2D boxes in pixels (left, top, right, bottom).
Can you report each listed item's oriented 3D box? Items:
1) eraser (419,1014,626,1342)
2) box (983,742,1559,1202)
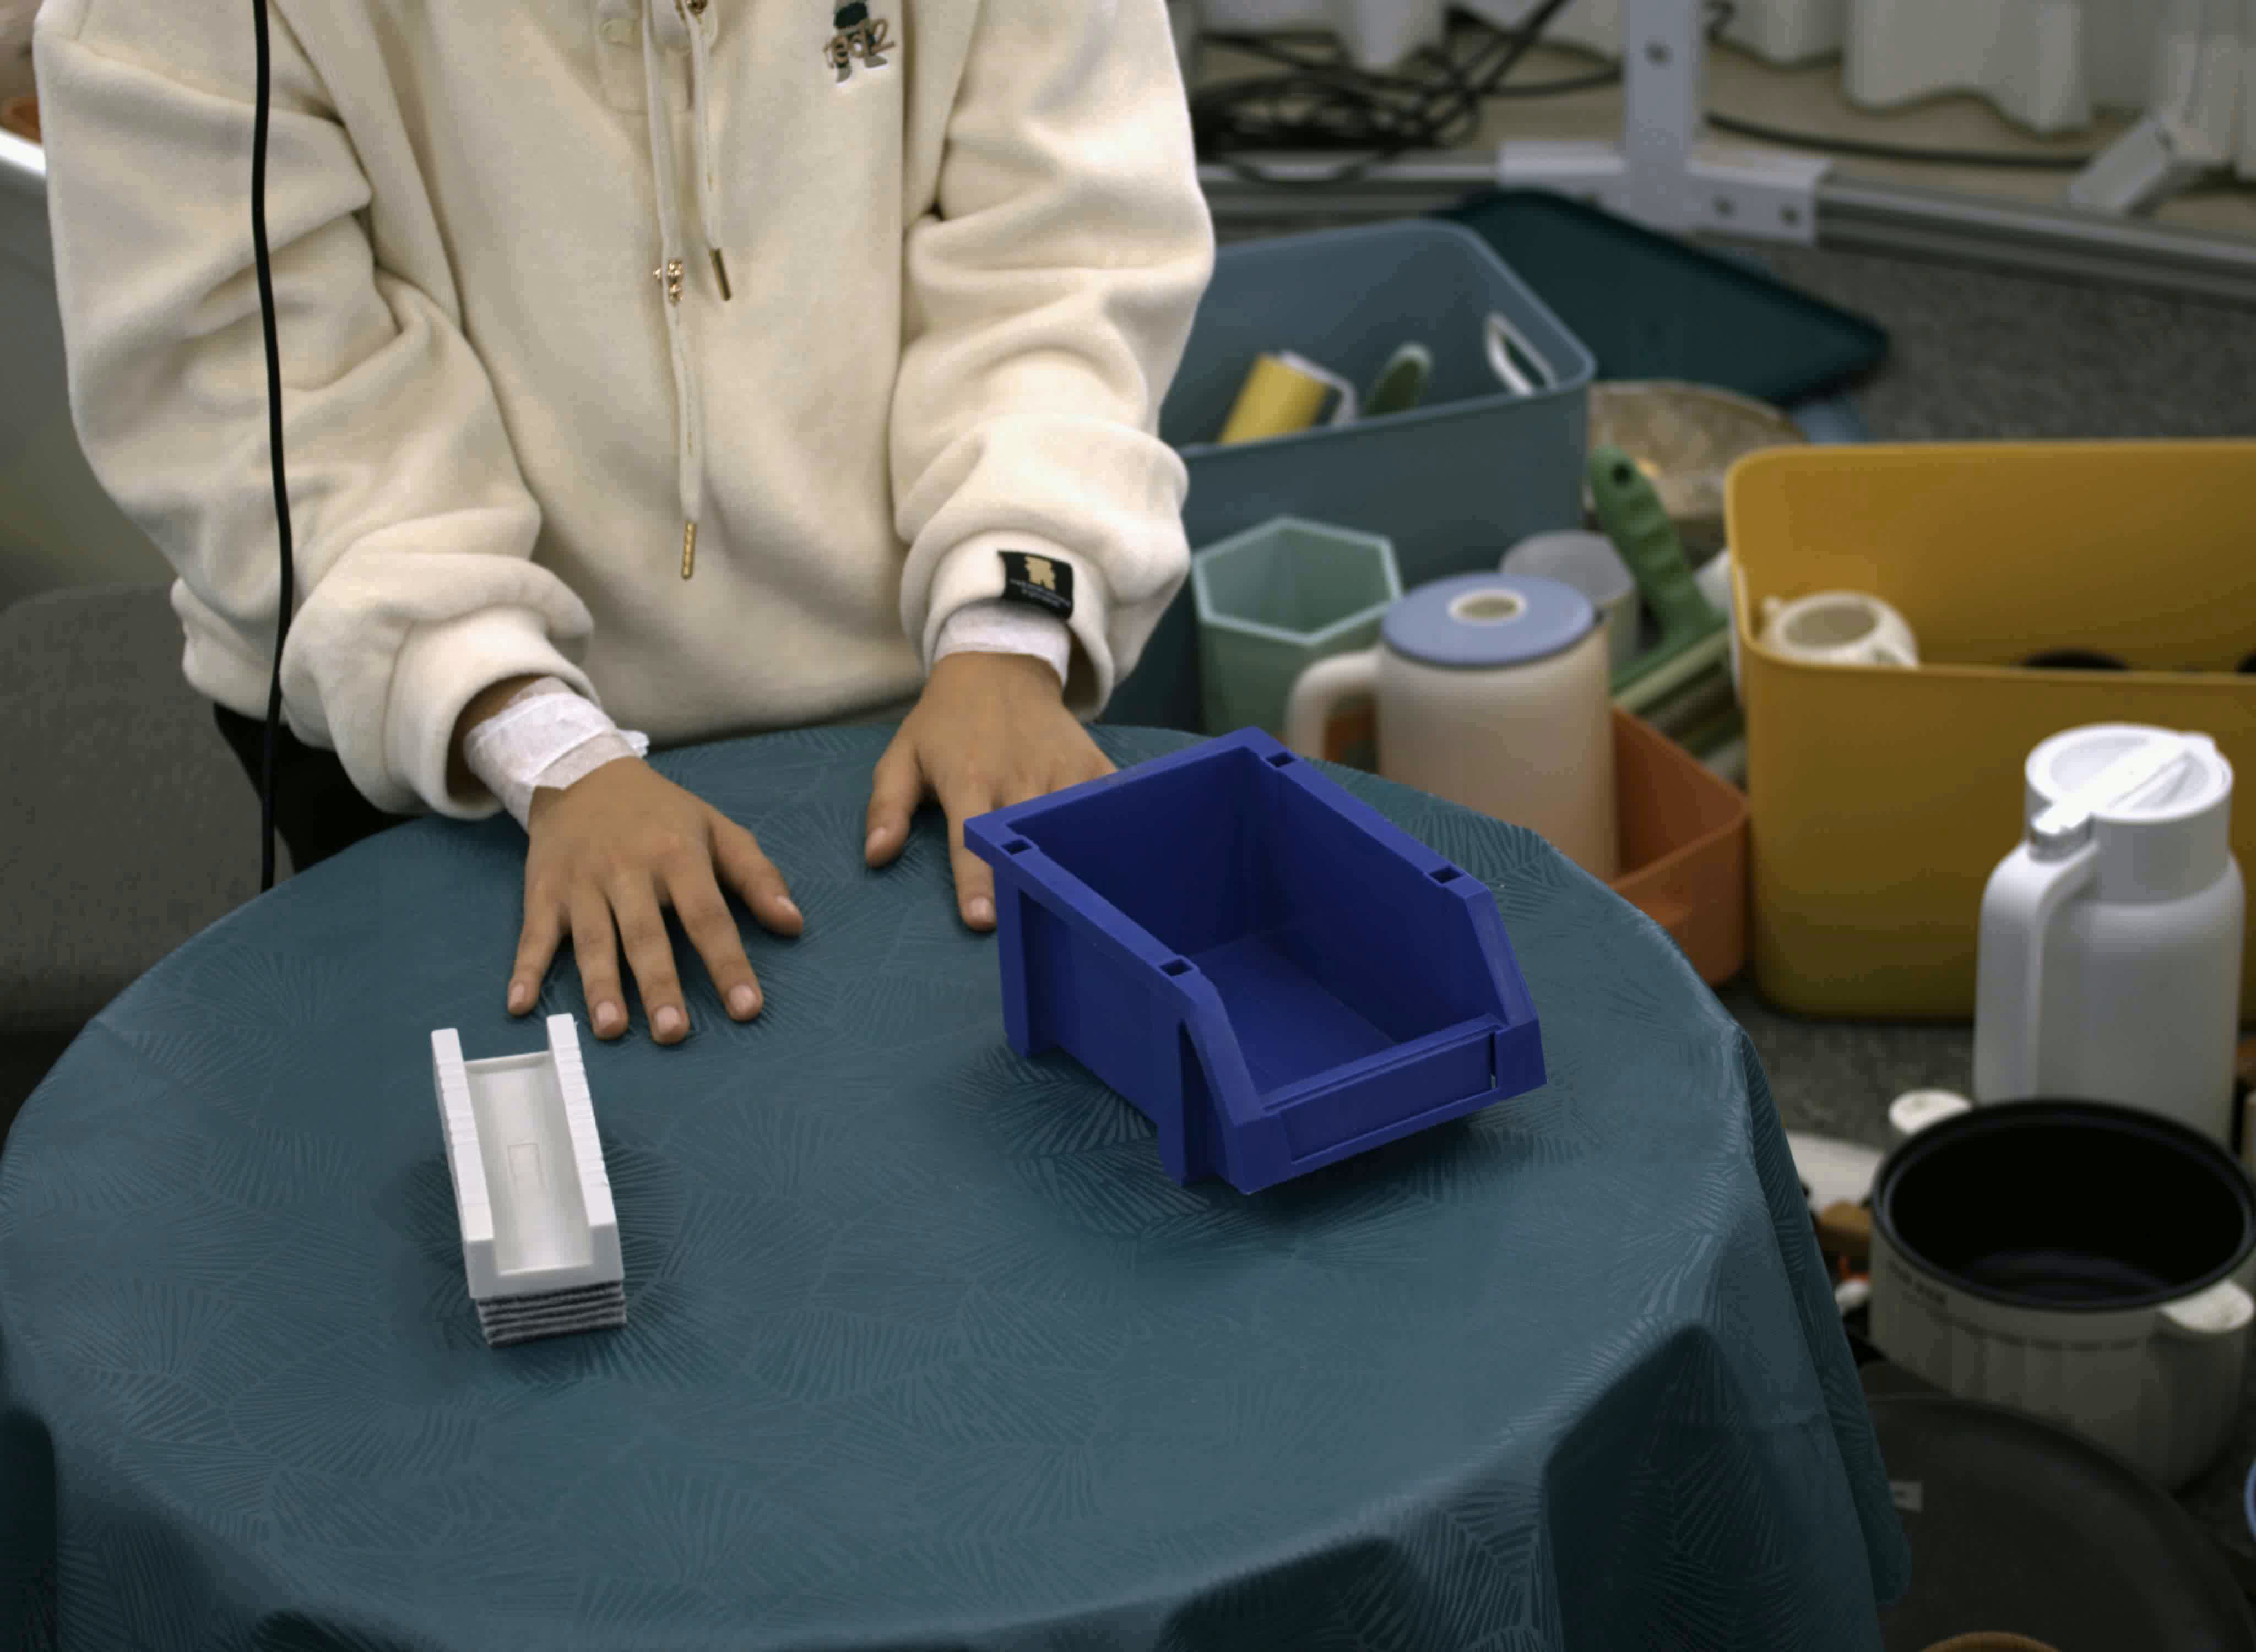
[{"bbox_3d":[-0.199,0.115,1.842,0.050,0.046,0.136,-10,30,-10],"label":"eraser"},{"bbox_3d":[0.048,0.053,1.901,0.125,0.081,0.180,-17,28,-25],"label":"box"}]
